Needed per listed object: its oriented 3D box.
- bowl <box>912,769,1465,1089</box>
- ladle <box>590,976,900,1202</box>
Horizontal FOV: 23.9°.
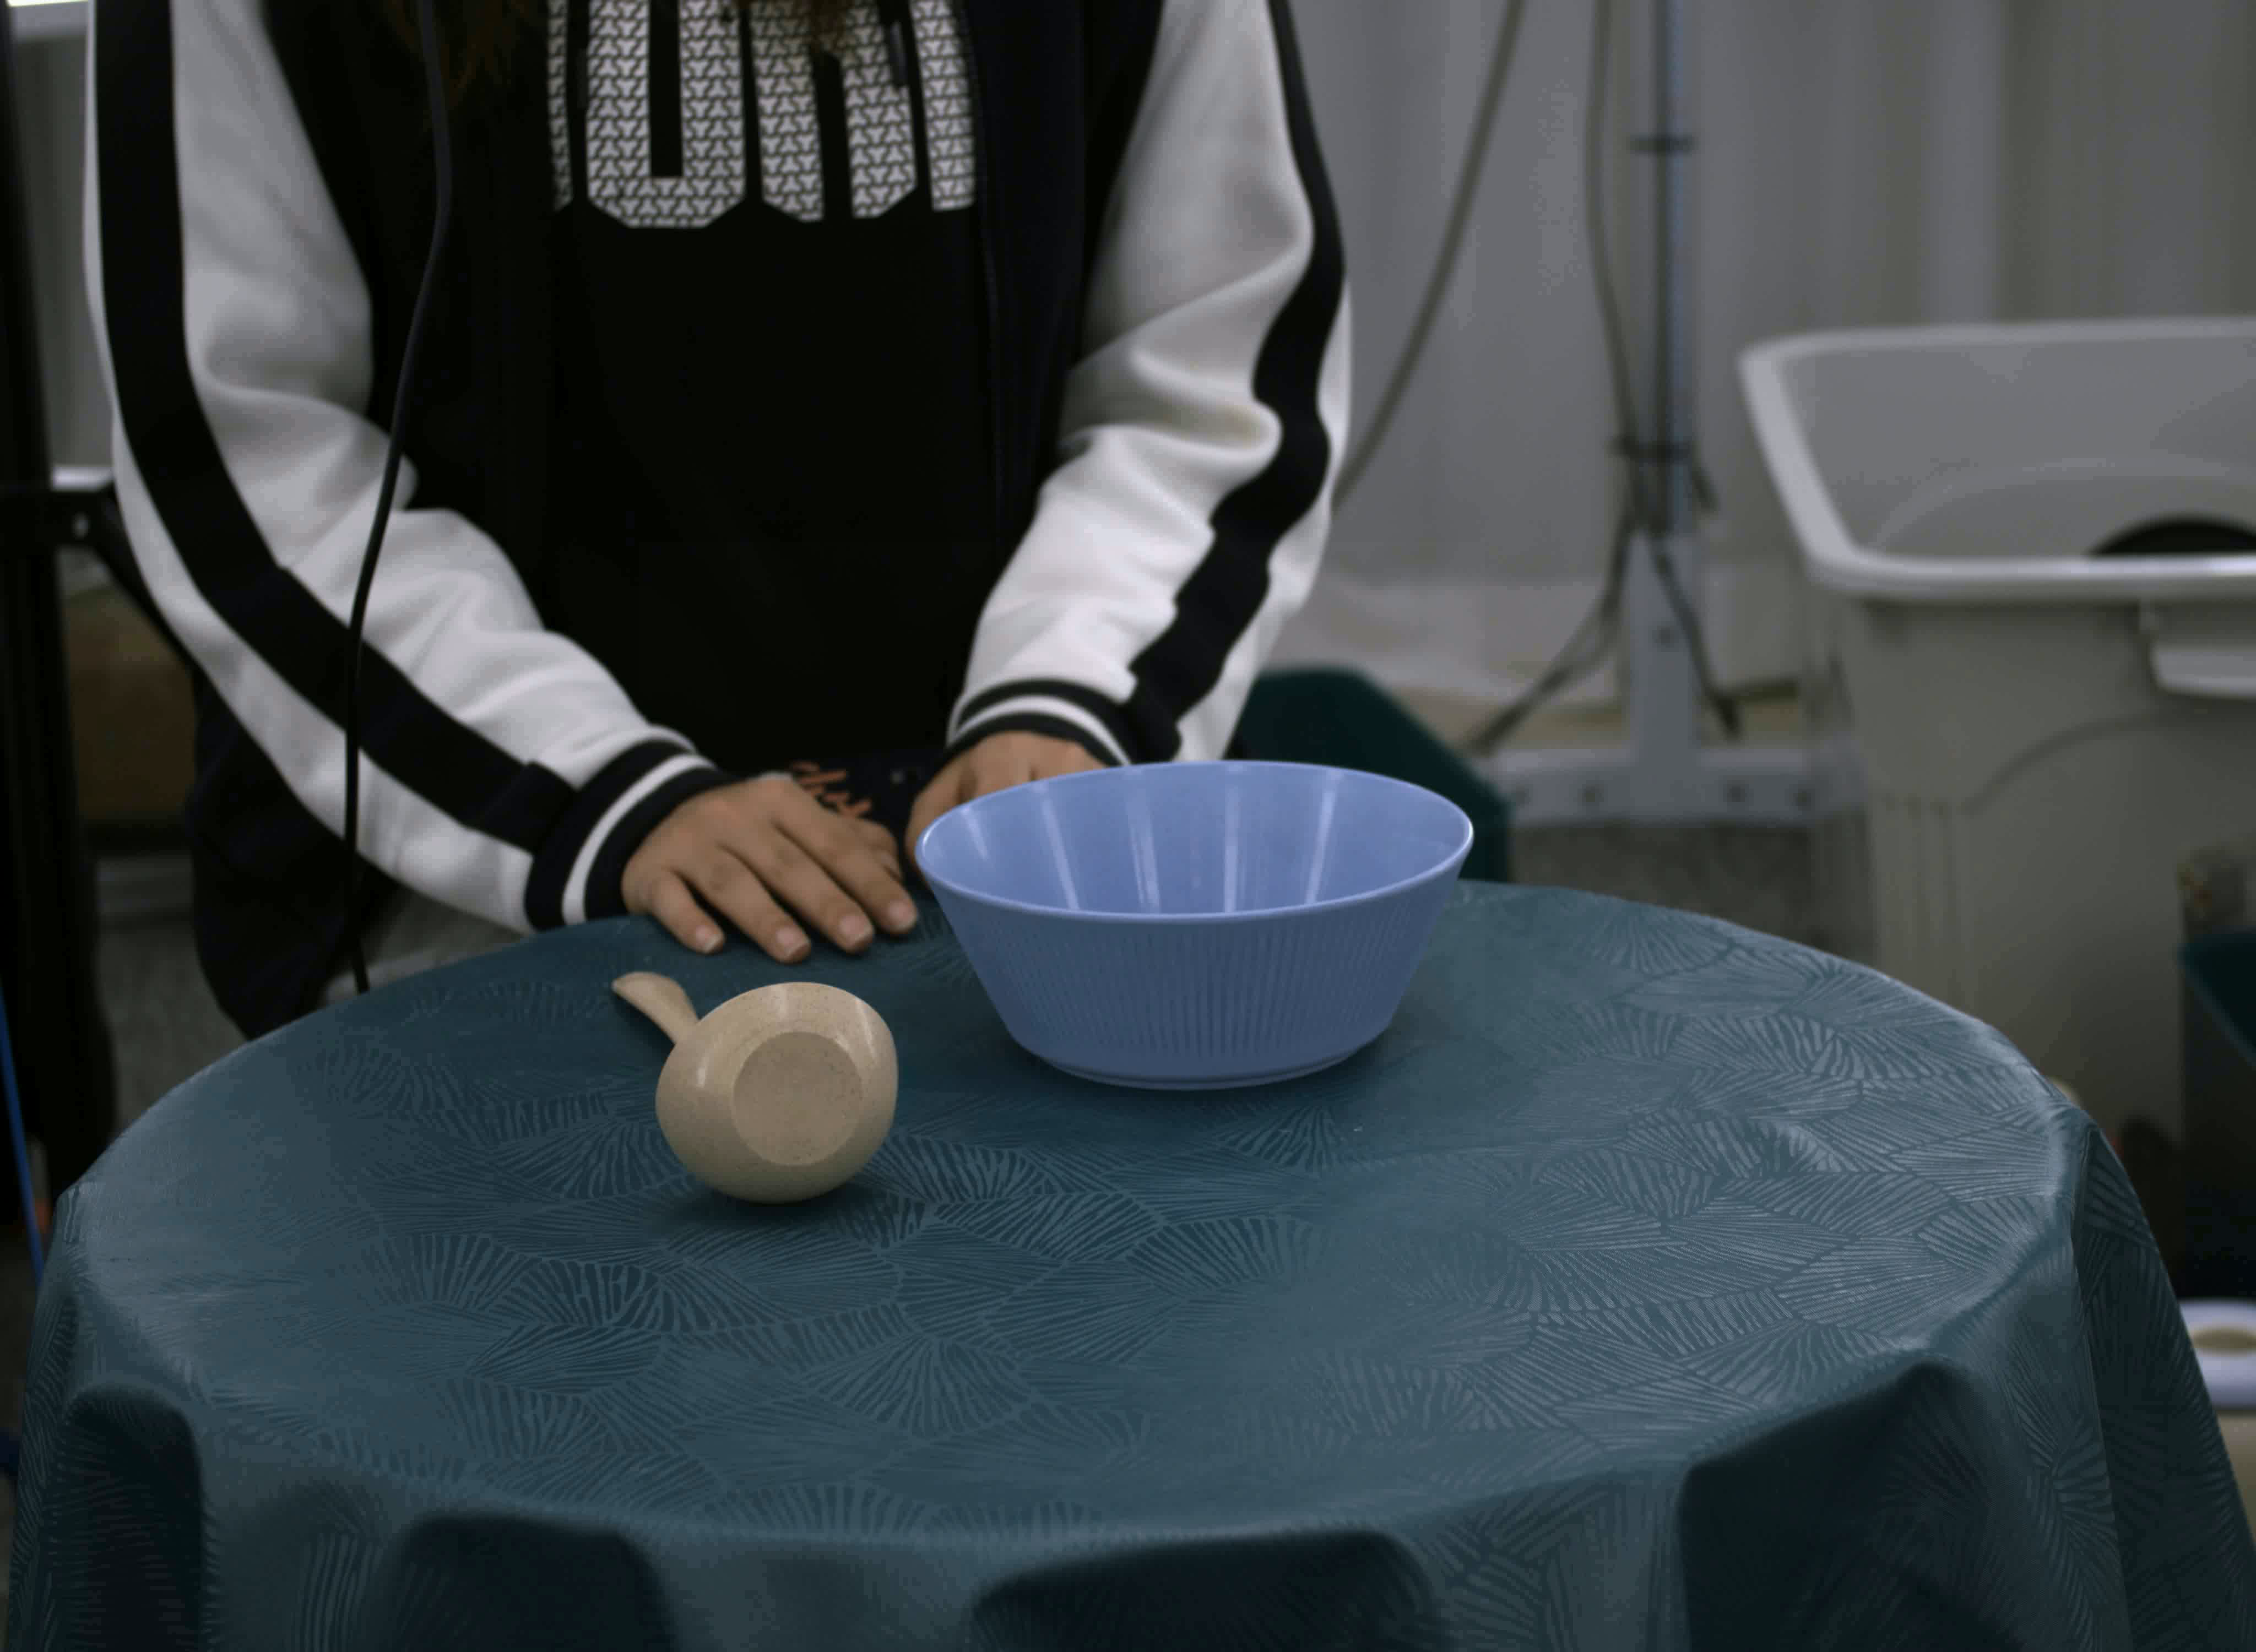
[{"bbox_3d":[0.019,0.035,1.686,0.175,0.070,0.177,-2,16,-1],"label":"bowl"},{"bbox_3d":[-0.133,0.051,1.648,0.071,0.073,0.258,-7,16,-17],"label":"ladle"}]
